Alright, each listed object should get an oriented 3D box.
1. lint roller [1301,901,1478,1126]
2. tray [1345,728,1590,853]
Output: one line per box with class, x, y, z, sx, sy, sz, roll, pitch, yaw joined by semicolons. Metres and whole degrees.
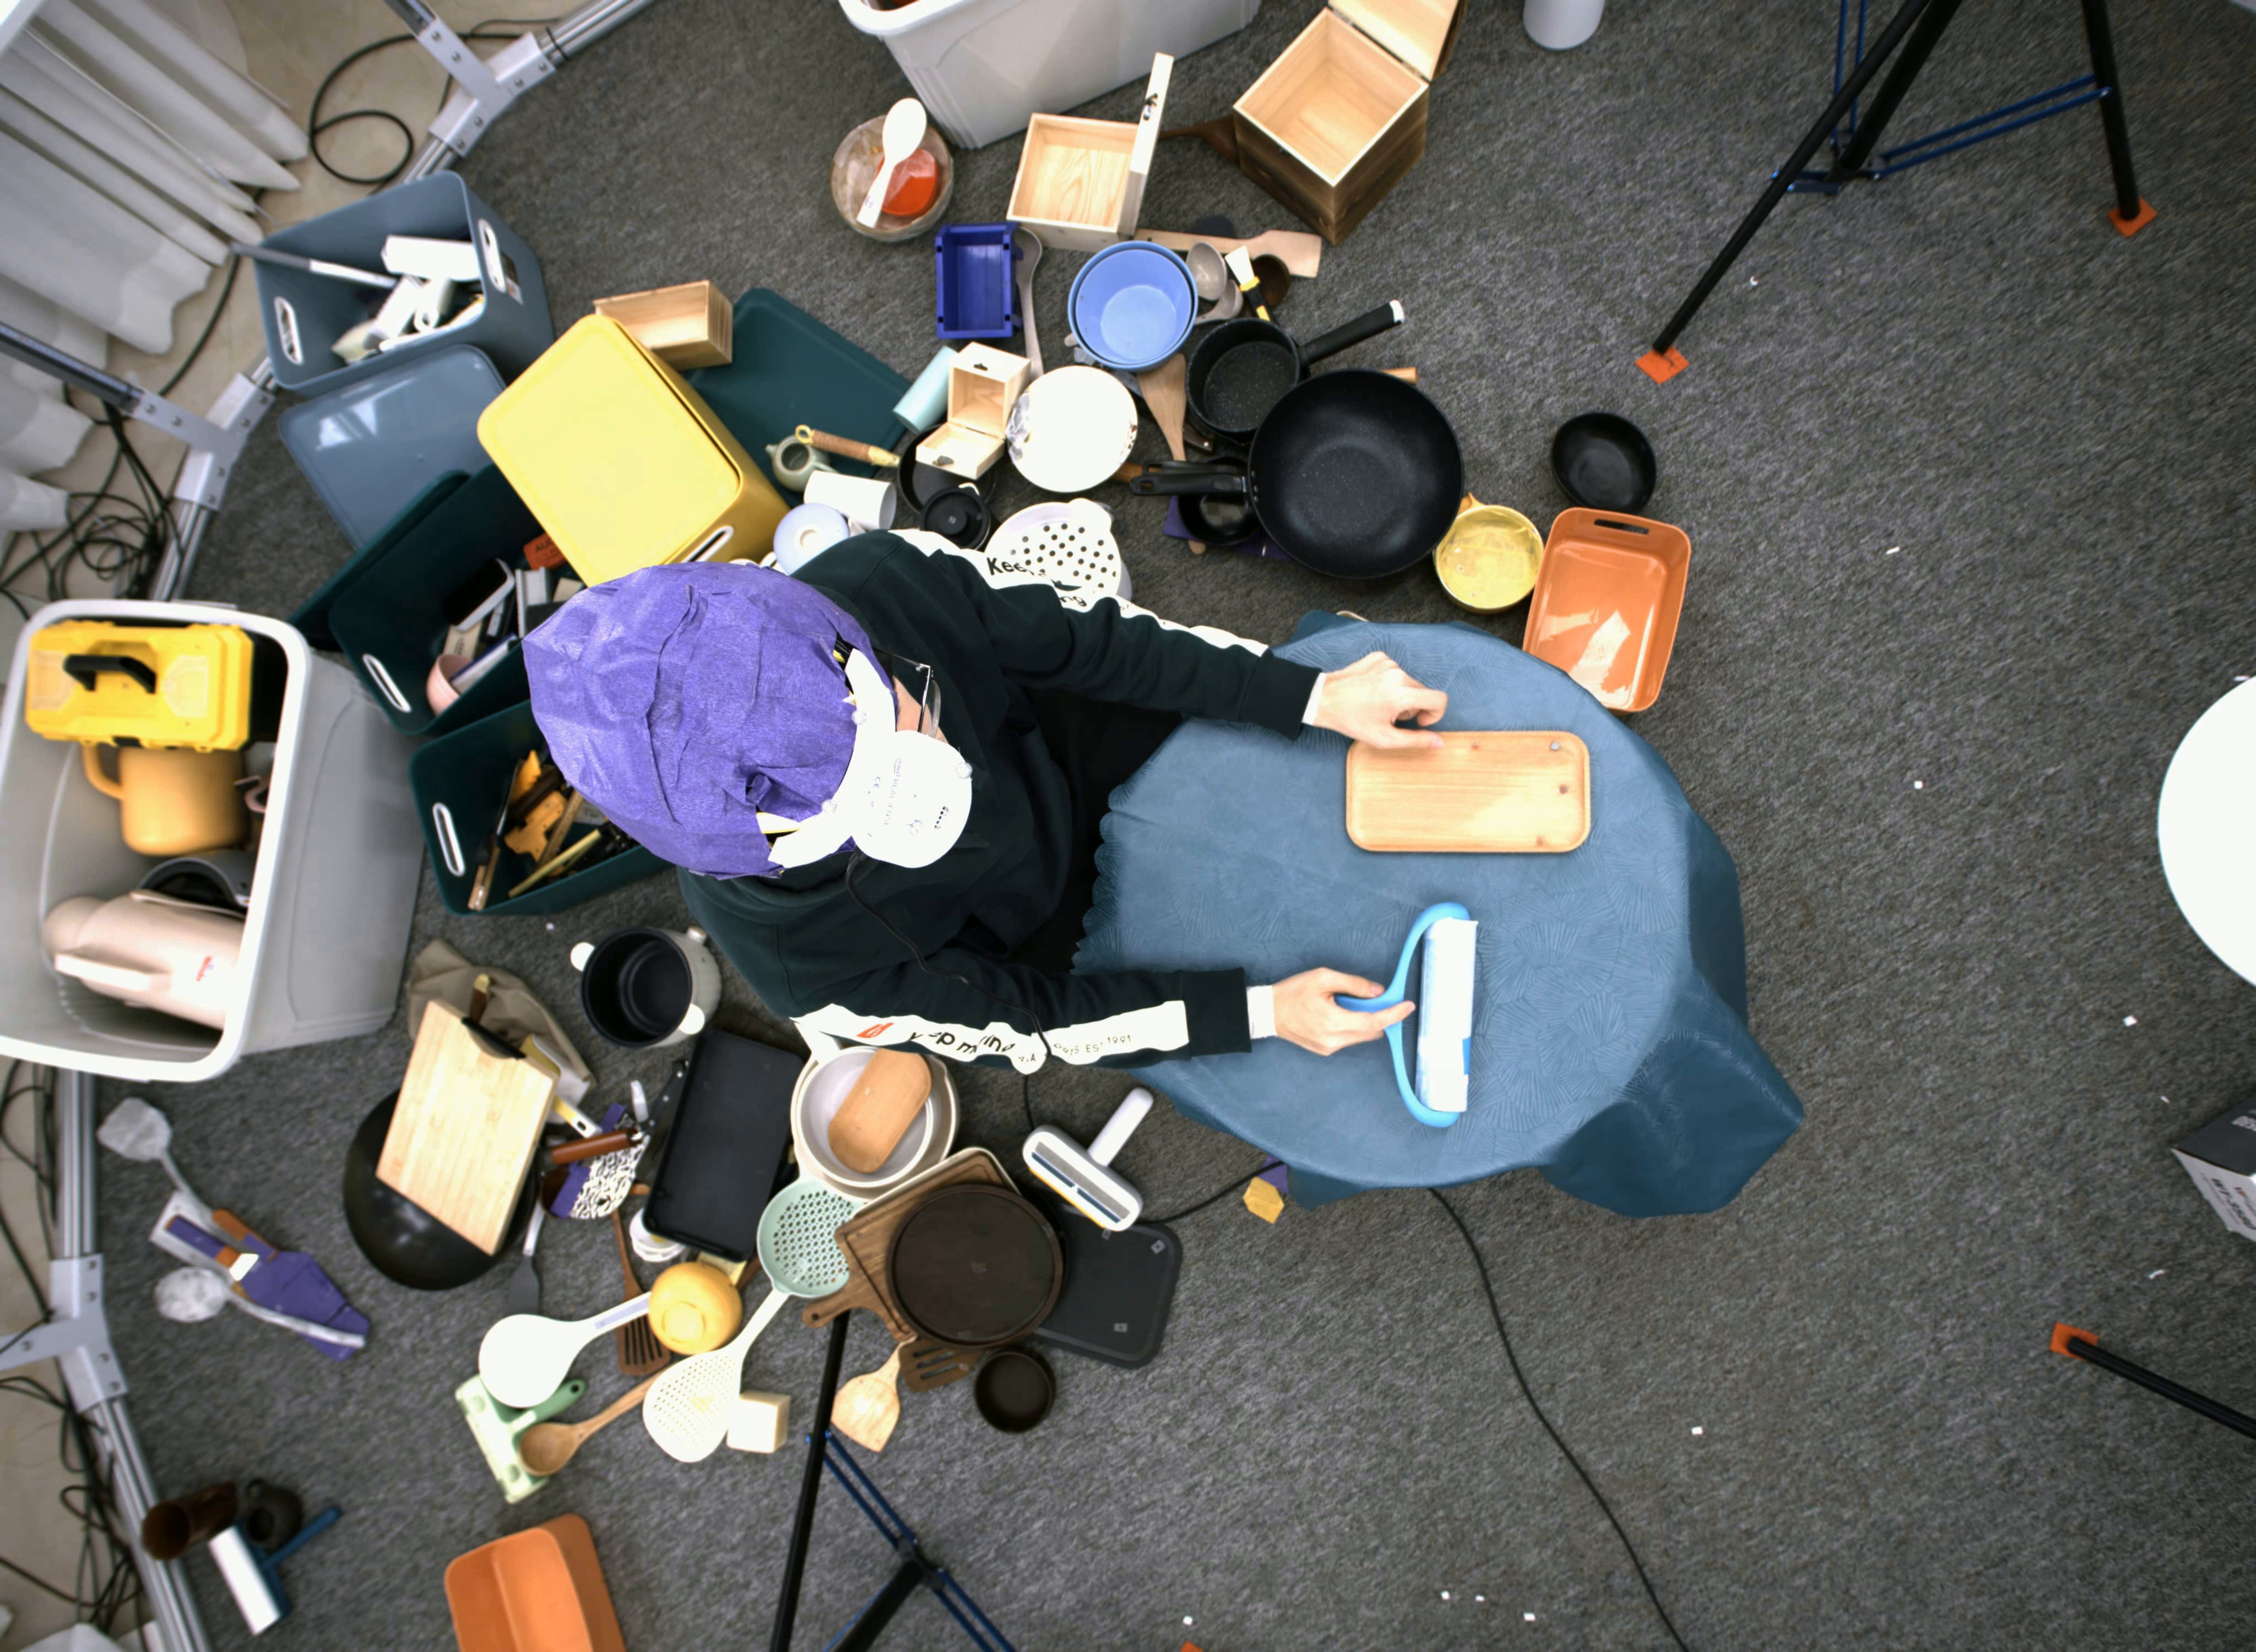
lint roller;0.268;0.189;1.421;0.181;0.068;0.228;0;88;10
tray;0.353;-0.039;1.437;0.251;0.023;0.130;1;85;11
